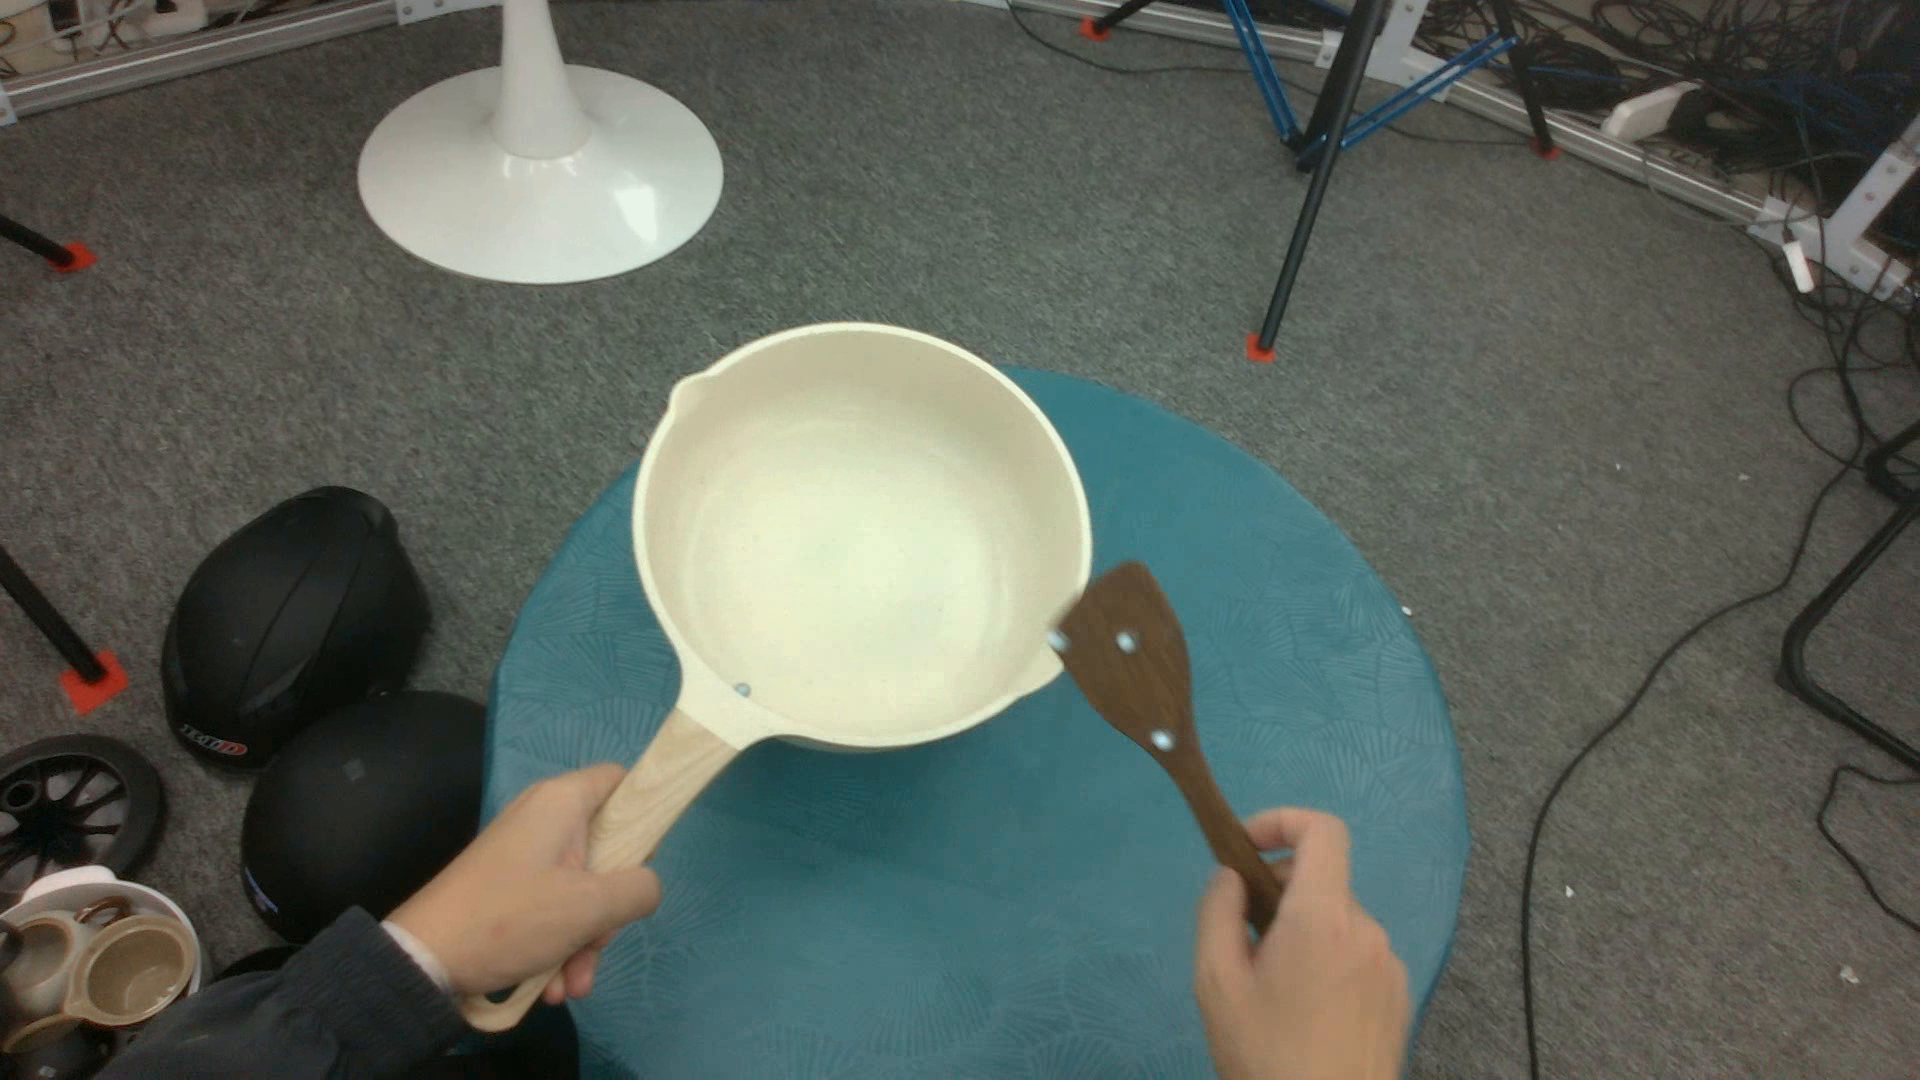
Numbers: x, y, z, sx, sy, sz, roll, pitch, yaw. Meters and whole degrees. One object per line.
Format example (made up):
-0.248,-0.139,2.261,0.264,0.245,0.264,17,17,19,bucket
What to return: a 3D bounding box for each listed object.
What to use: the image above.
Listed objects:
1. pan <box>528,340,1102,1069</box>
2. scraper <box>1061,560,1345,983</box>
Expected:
-0.092,0.082,0.746,0.263,0.101,0.437,32,64,1,pan
0.120,0.111,0.662,0.011,0.075,0.211,-1,56,-50,scraper
